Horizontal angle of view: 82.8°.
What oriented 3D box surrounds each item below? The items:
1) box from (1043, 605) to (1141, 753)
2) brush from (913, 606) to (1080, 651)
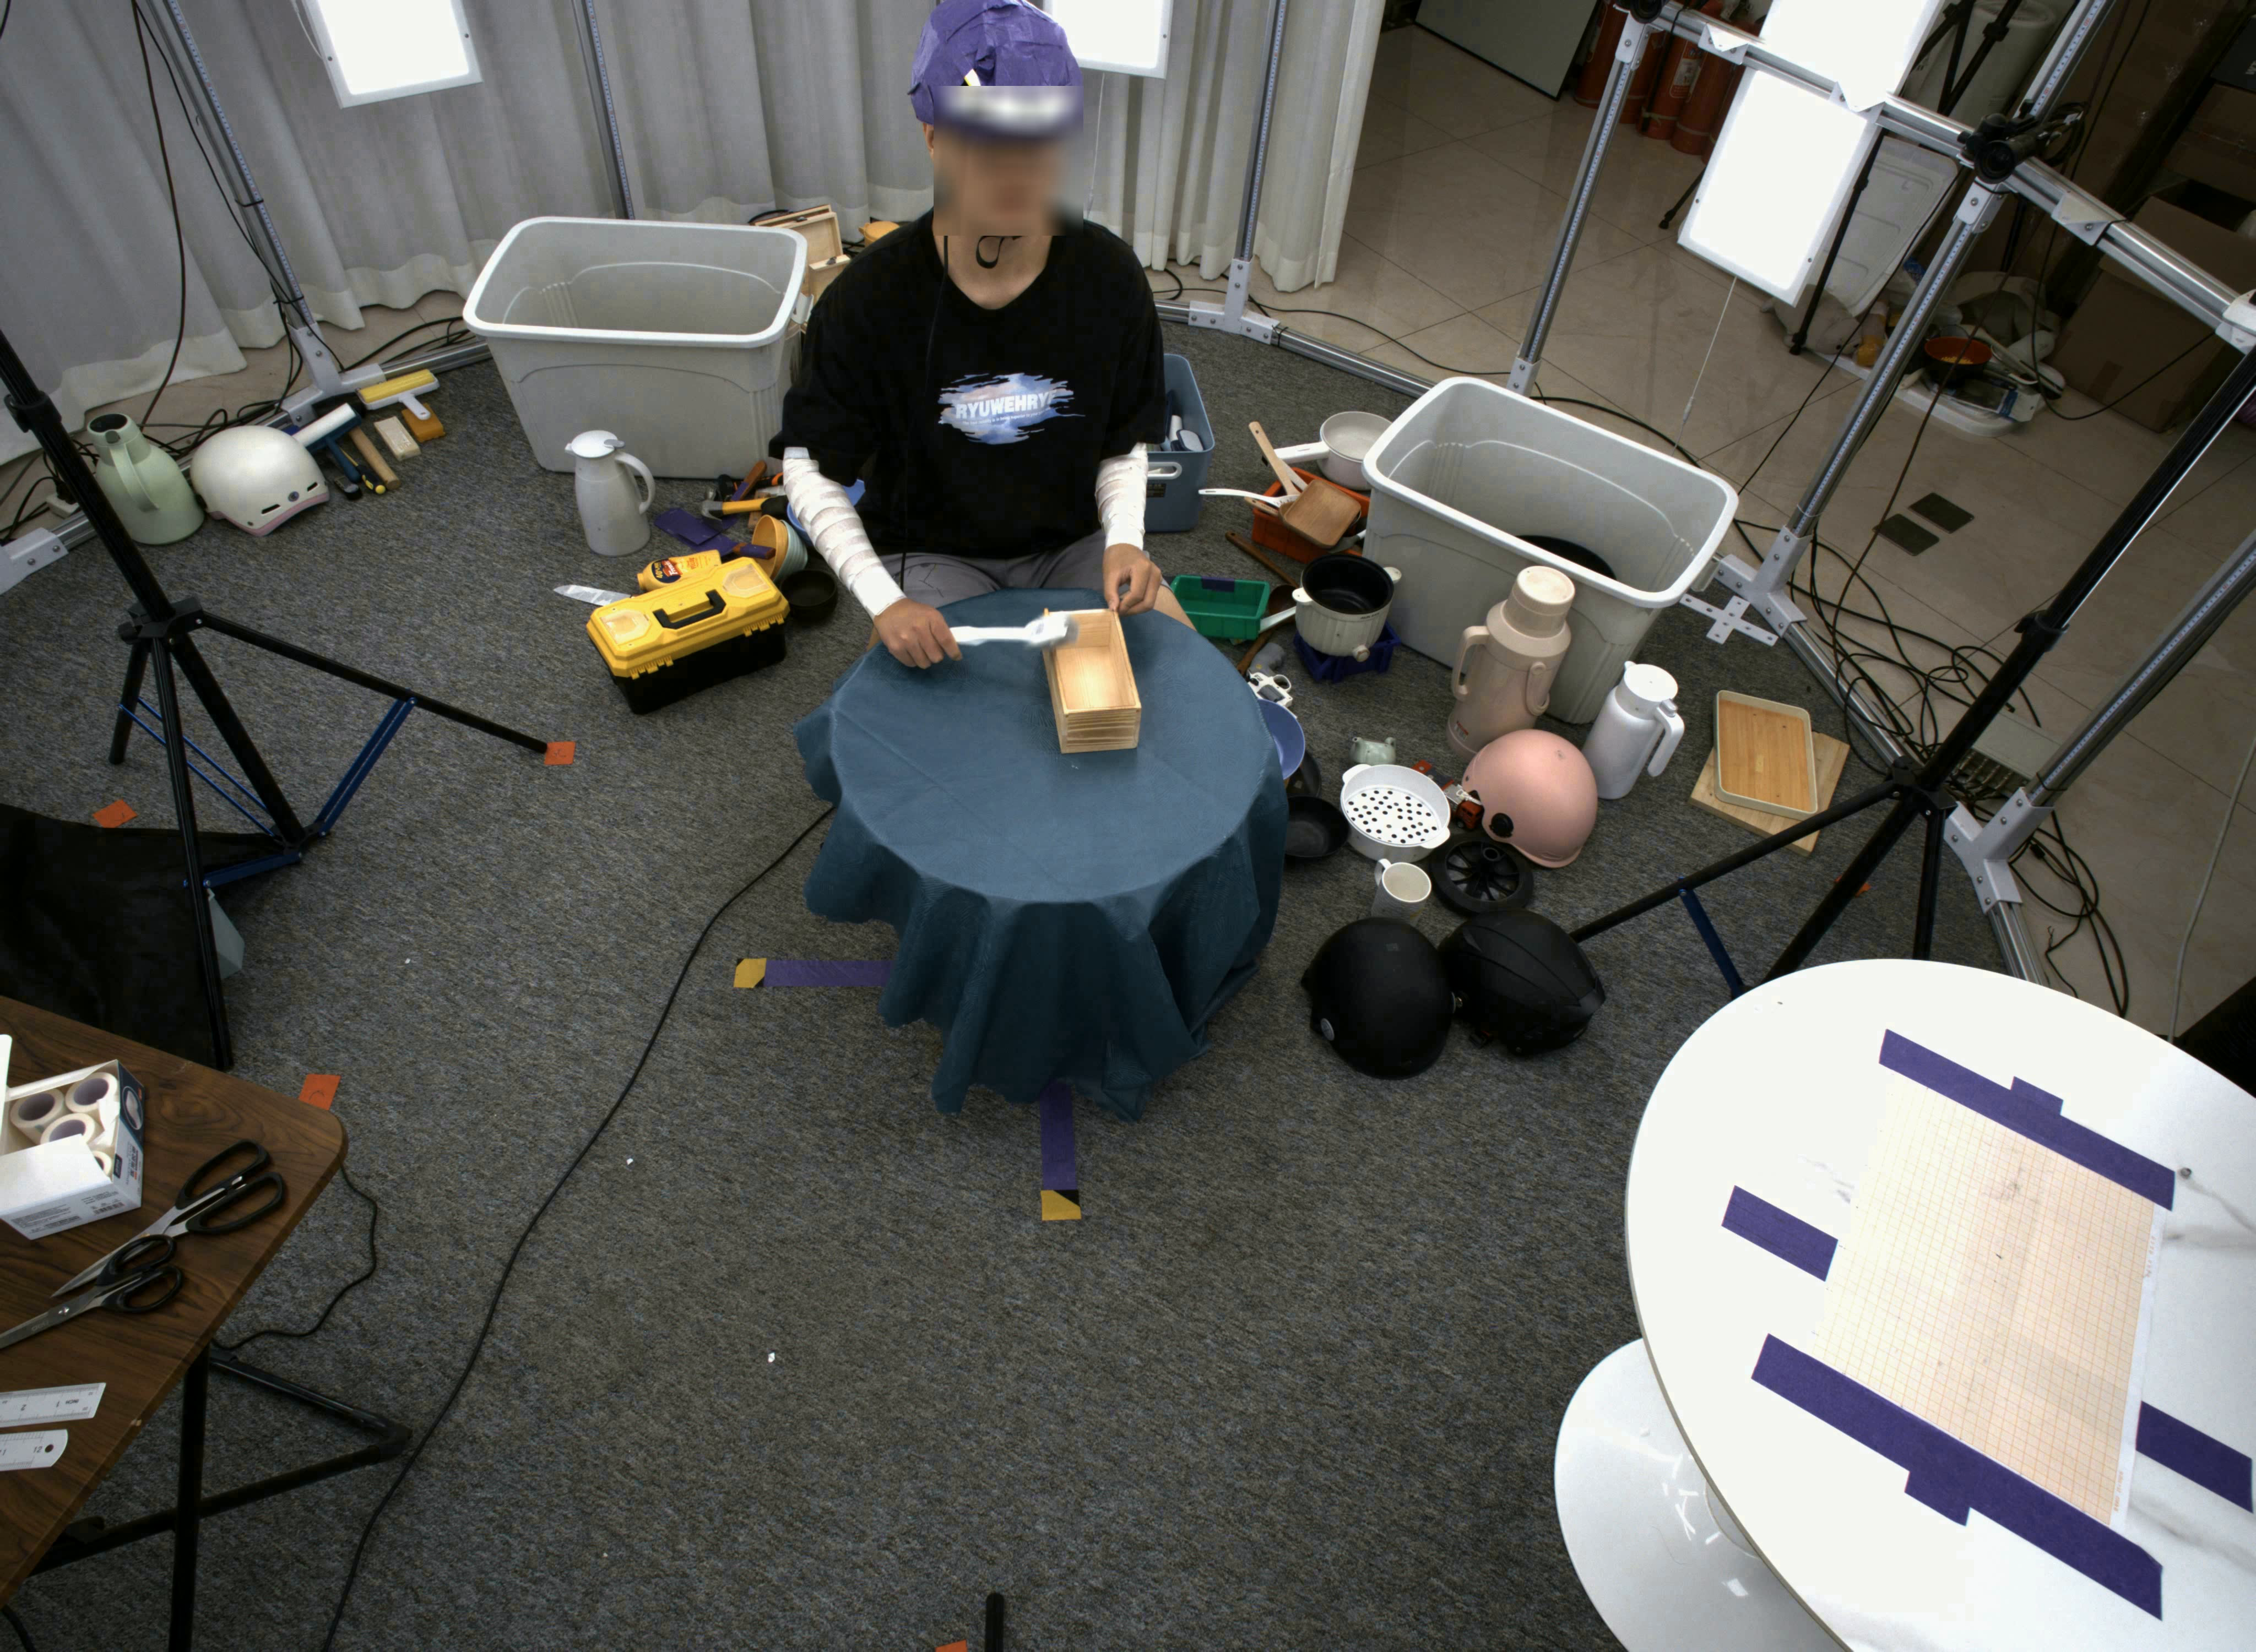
[{"bbox_3d":[-0.053,-0.208,1.798,0.107,0.078,0.217,-6,49,-8],"label":"box"},{"bbox_3d":[-0.182,-0.264,1.790,0.244,0.049,0.035,-7,67,20],"label":"brush"}]
